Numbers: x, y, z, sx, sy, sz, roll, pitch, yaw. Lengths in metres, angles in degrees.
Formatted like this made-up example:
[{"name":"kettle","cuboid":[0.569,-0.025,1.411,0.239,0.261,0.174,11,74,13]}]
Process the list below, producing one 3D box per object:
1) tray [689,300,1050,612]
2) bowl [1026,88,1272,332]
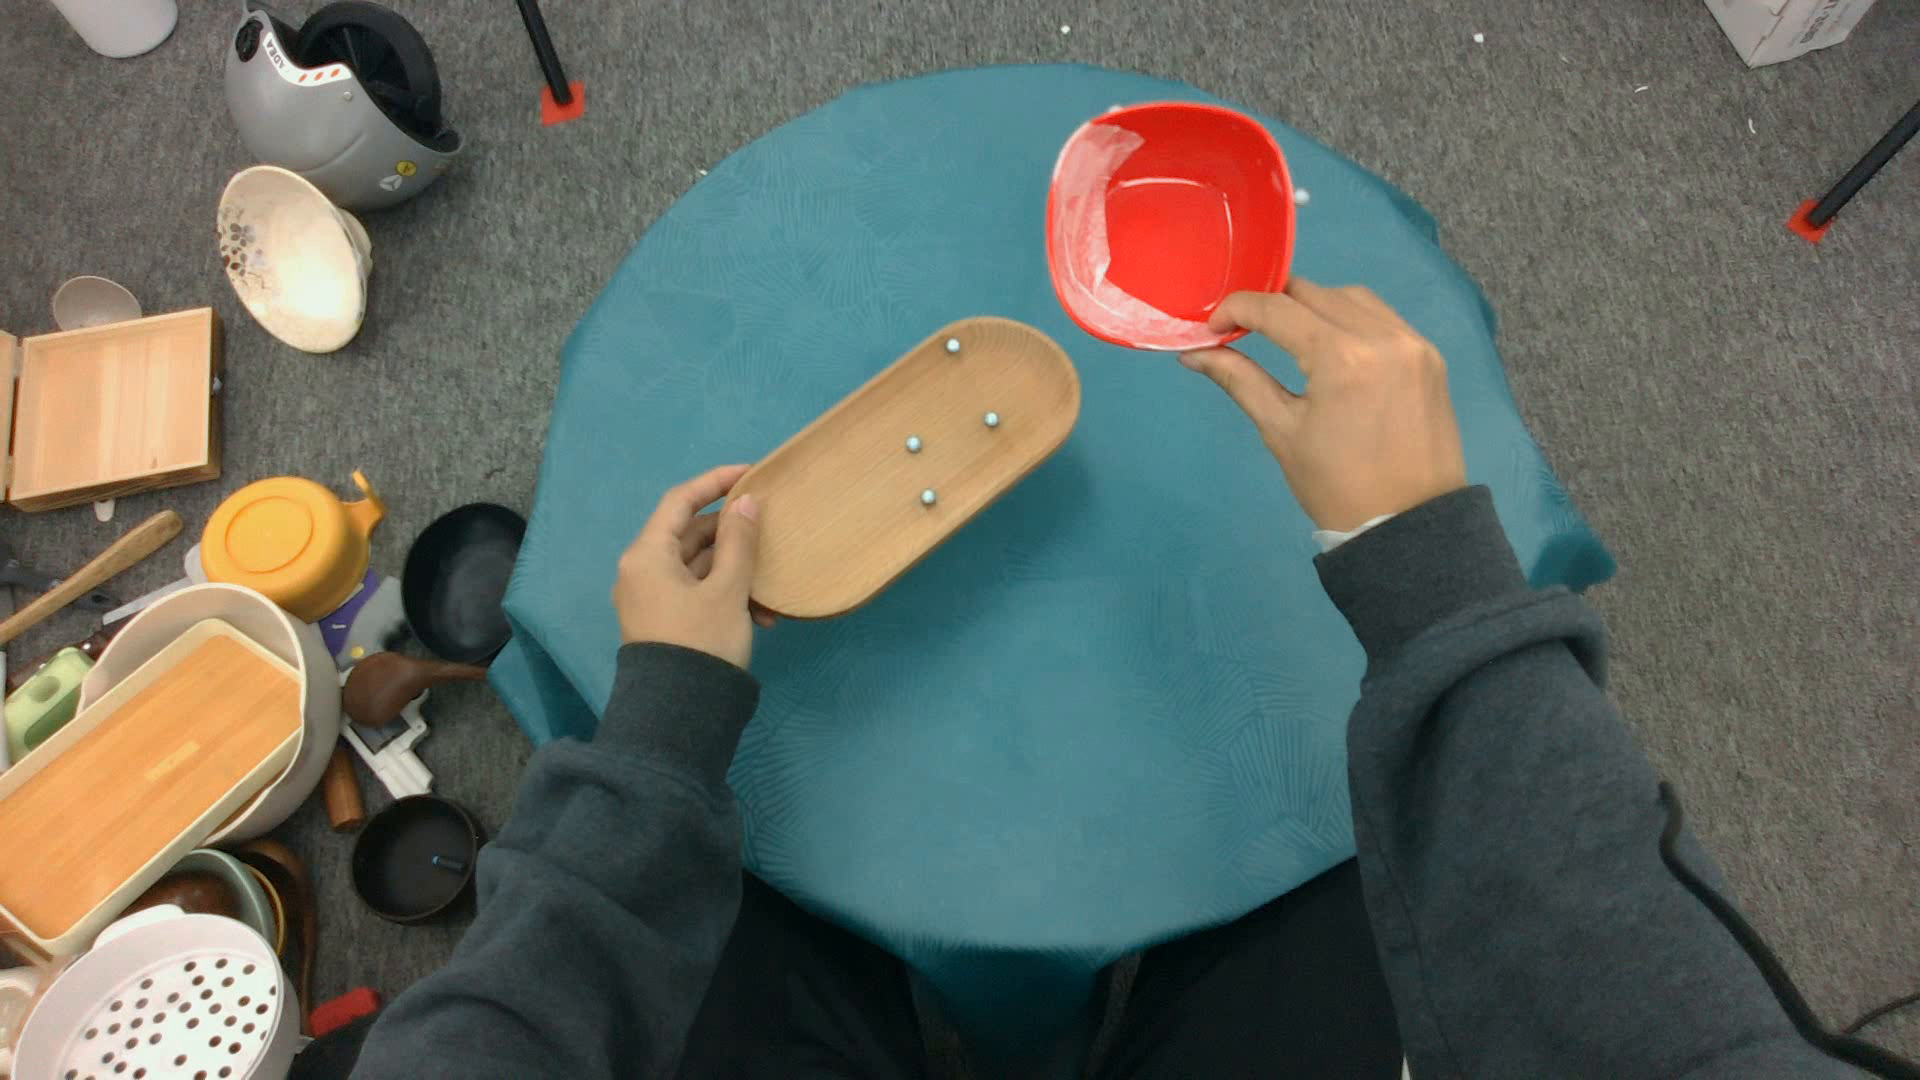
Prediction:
[{"name":"tray","cuboid":[-0.046,-0.050,0.754,0.102,0.020,0.232,43,70,15]},{"name":"bowl","cuboid":[0.085,-0.148,0.640,0.119,0.051,0.119,0,88,1]}]
